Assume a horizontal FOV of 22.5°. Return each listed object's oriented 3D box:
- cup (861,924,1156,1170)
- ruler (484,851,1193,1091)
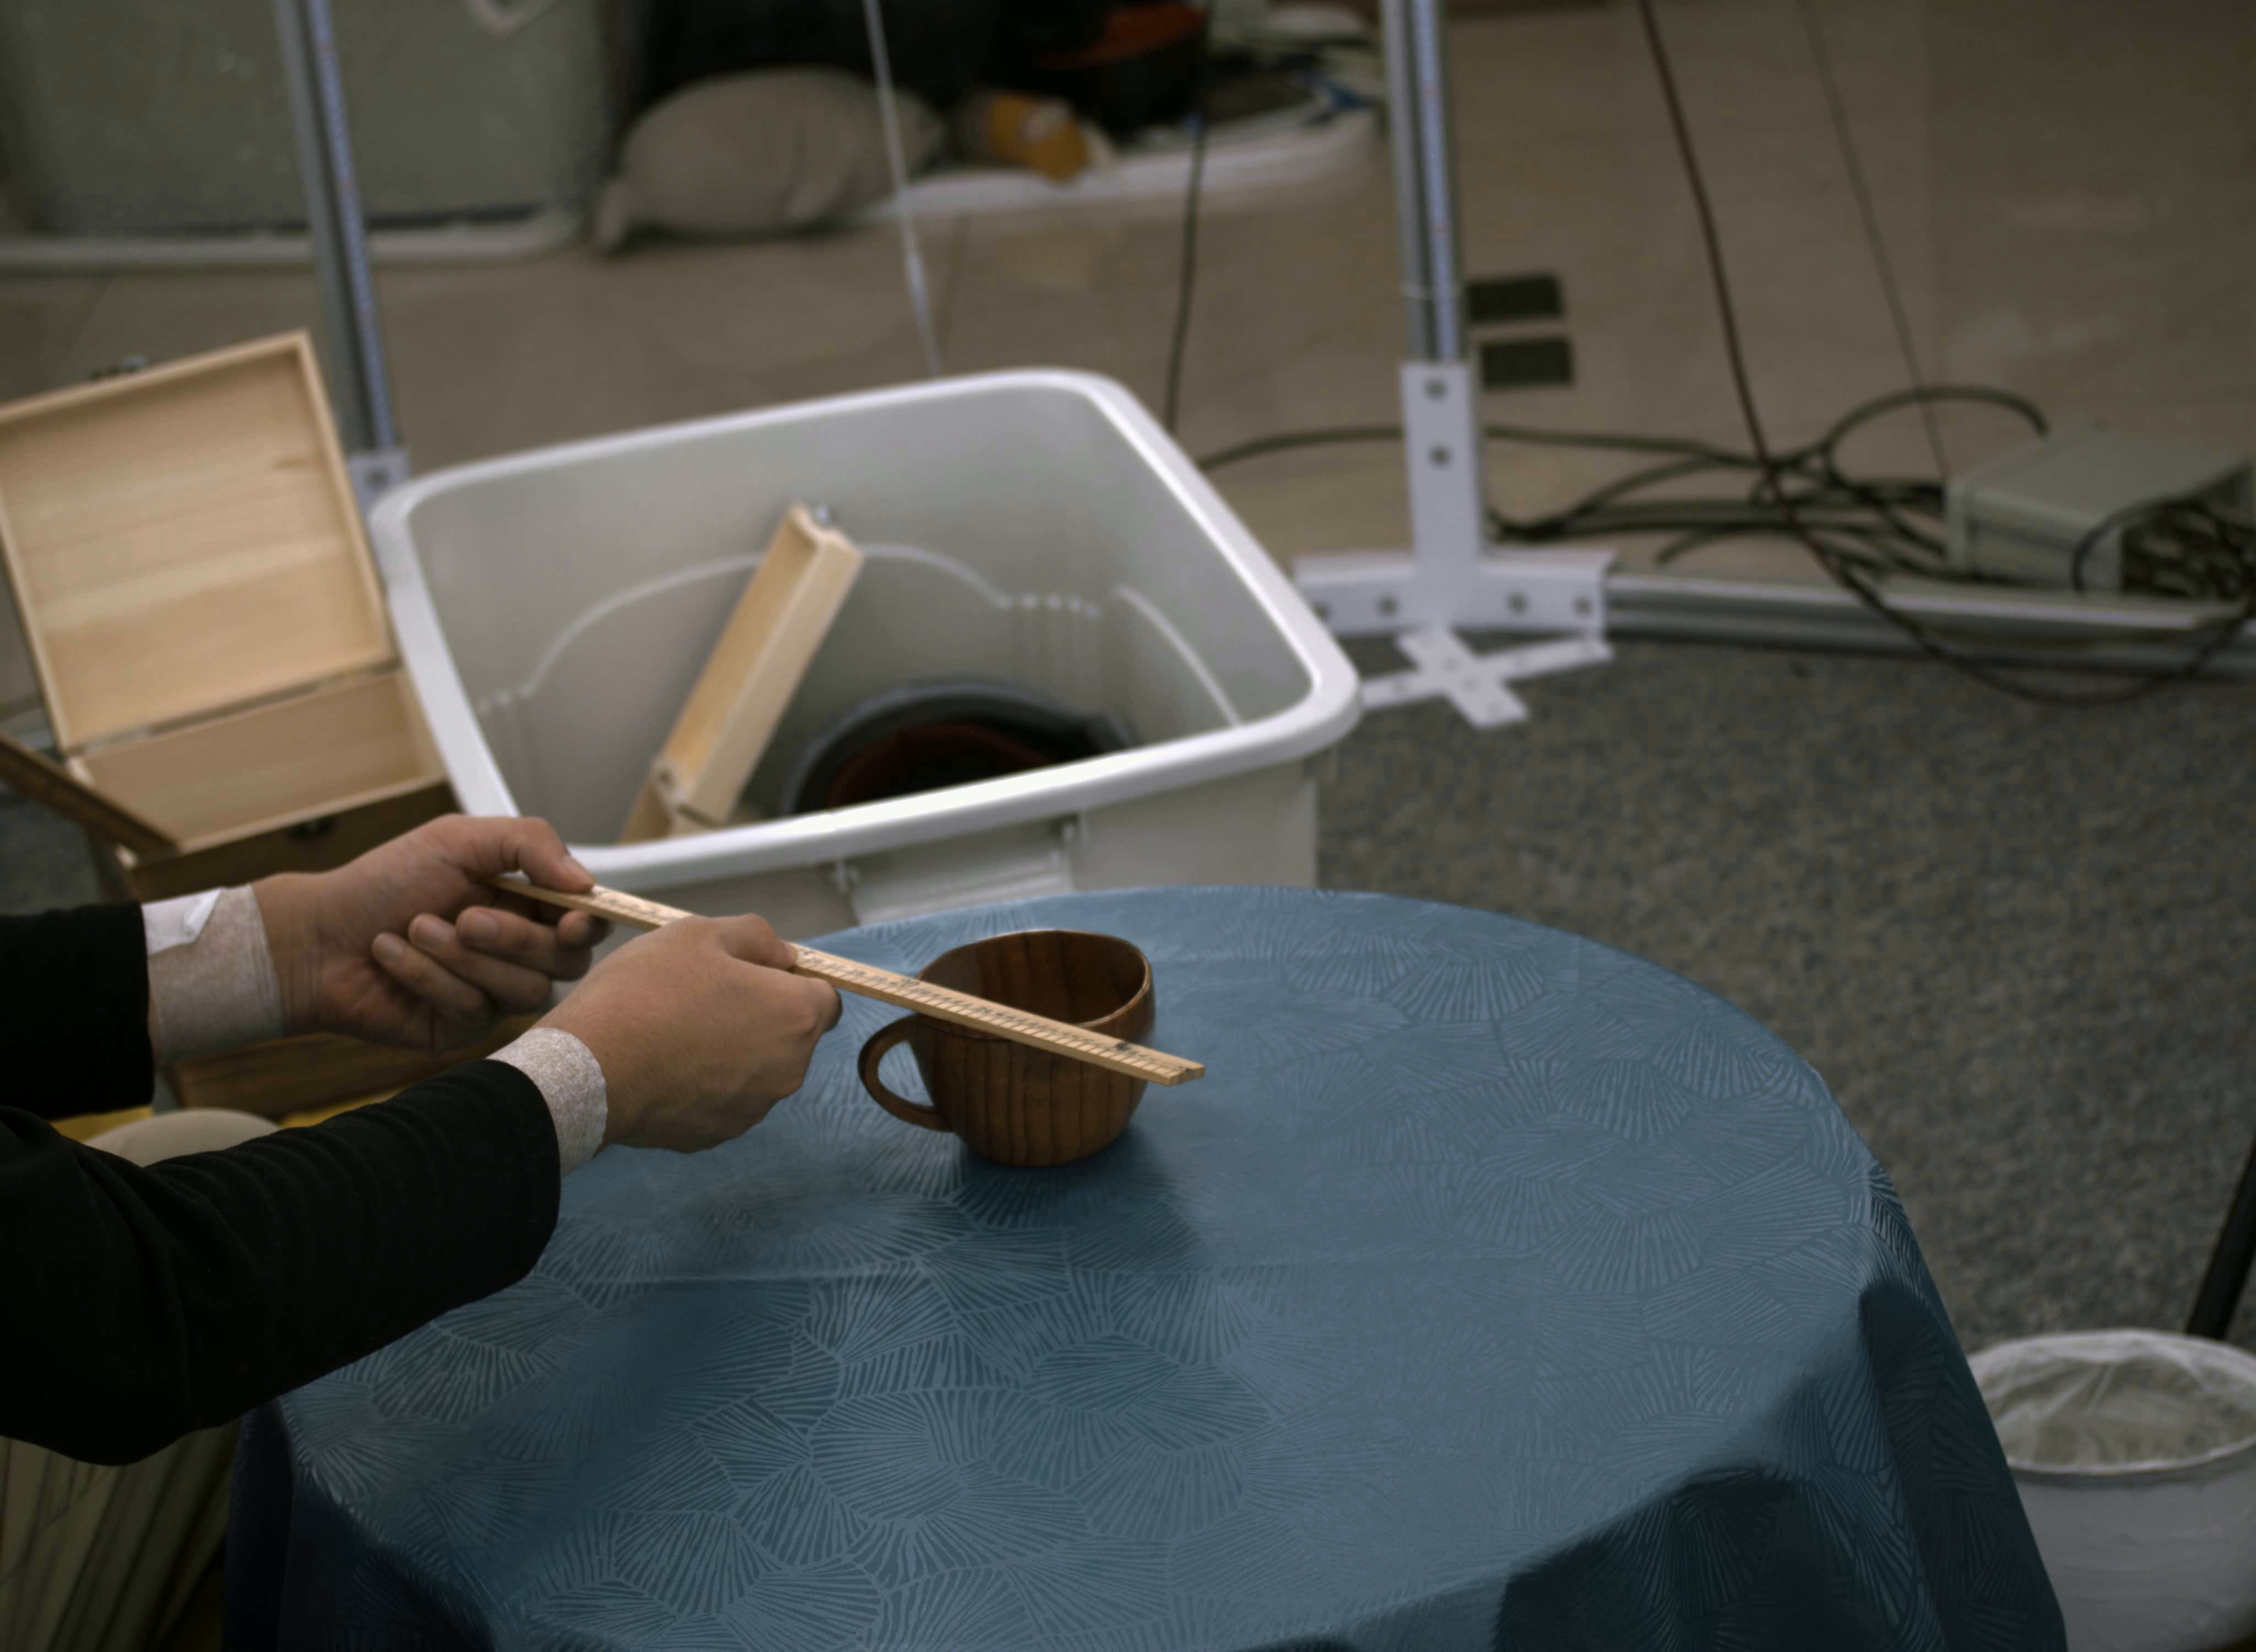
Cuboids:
[{"bbox_3d":[-0.046,0.092,2.184,0.119,0.069,0.095,-16,29,-16],"label":"cup"},{"bbox_3d":[-0.116,0.052,2.175,0.329,0.022,0.027,16,12,32],"label":"ruler"}]
